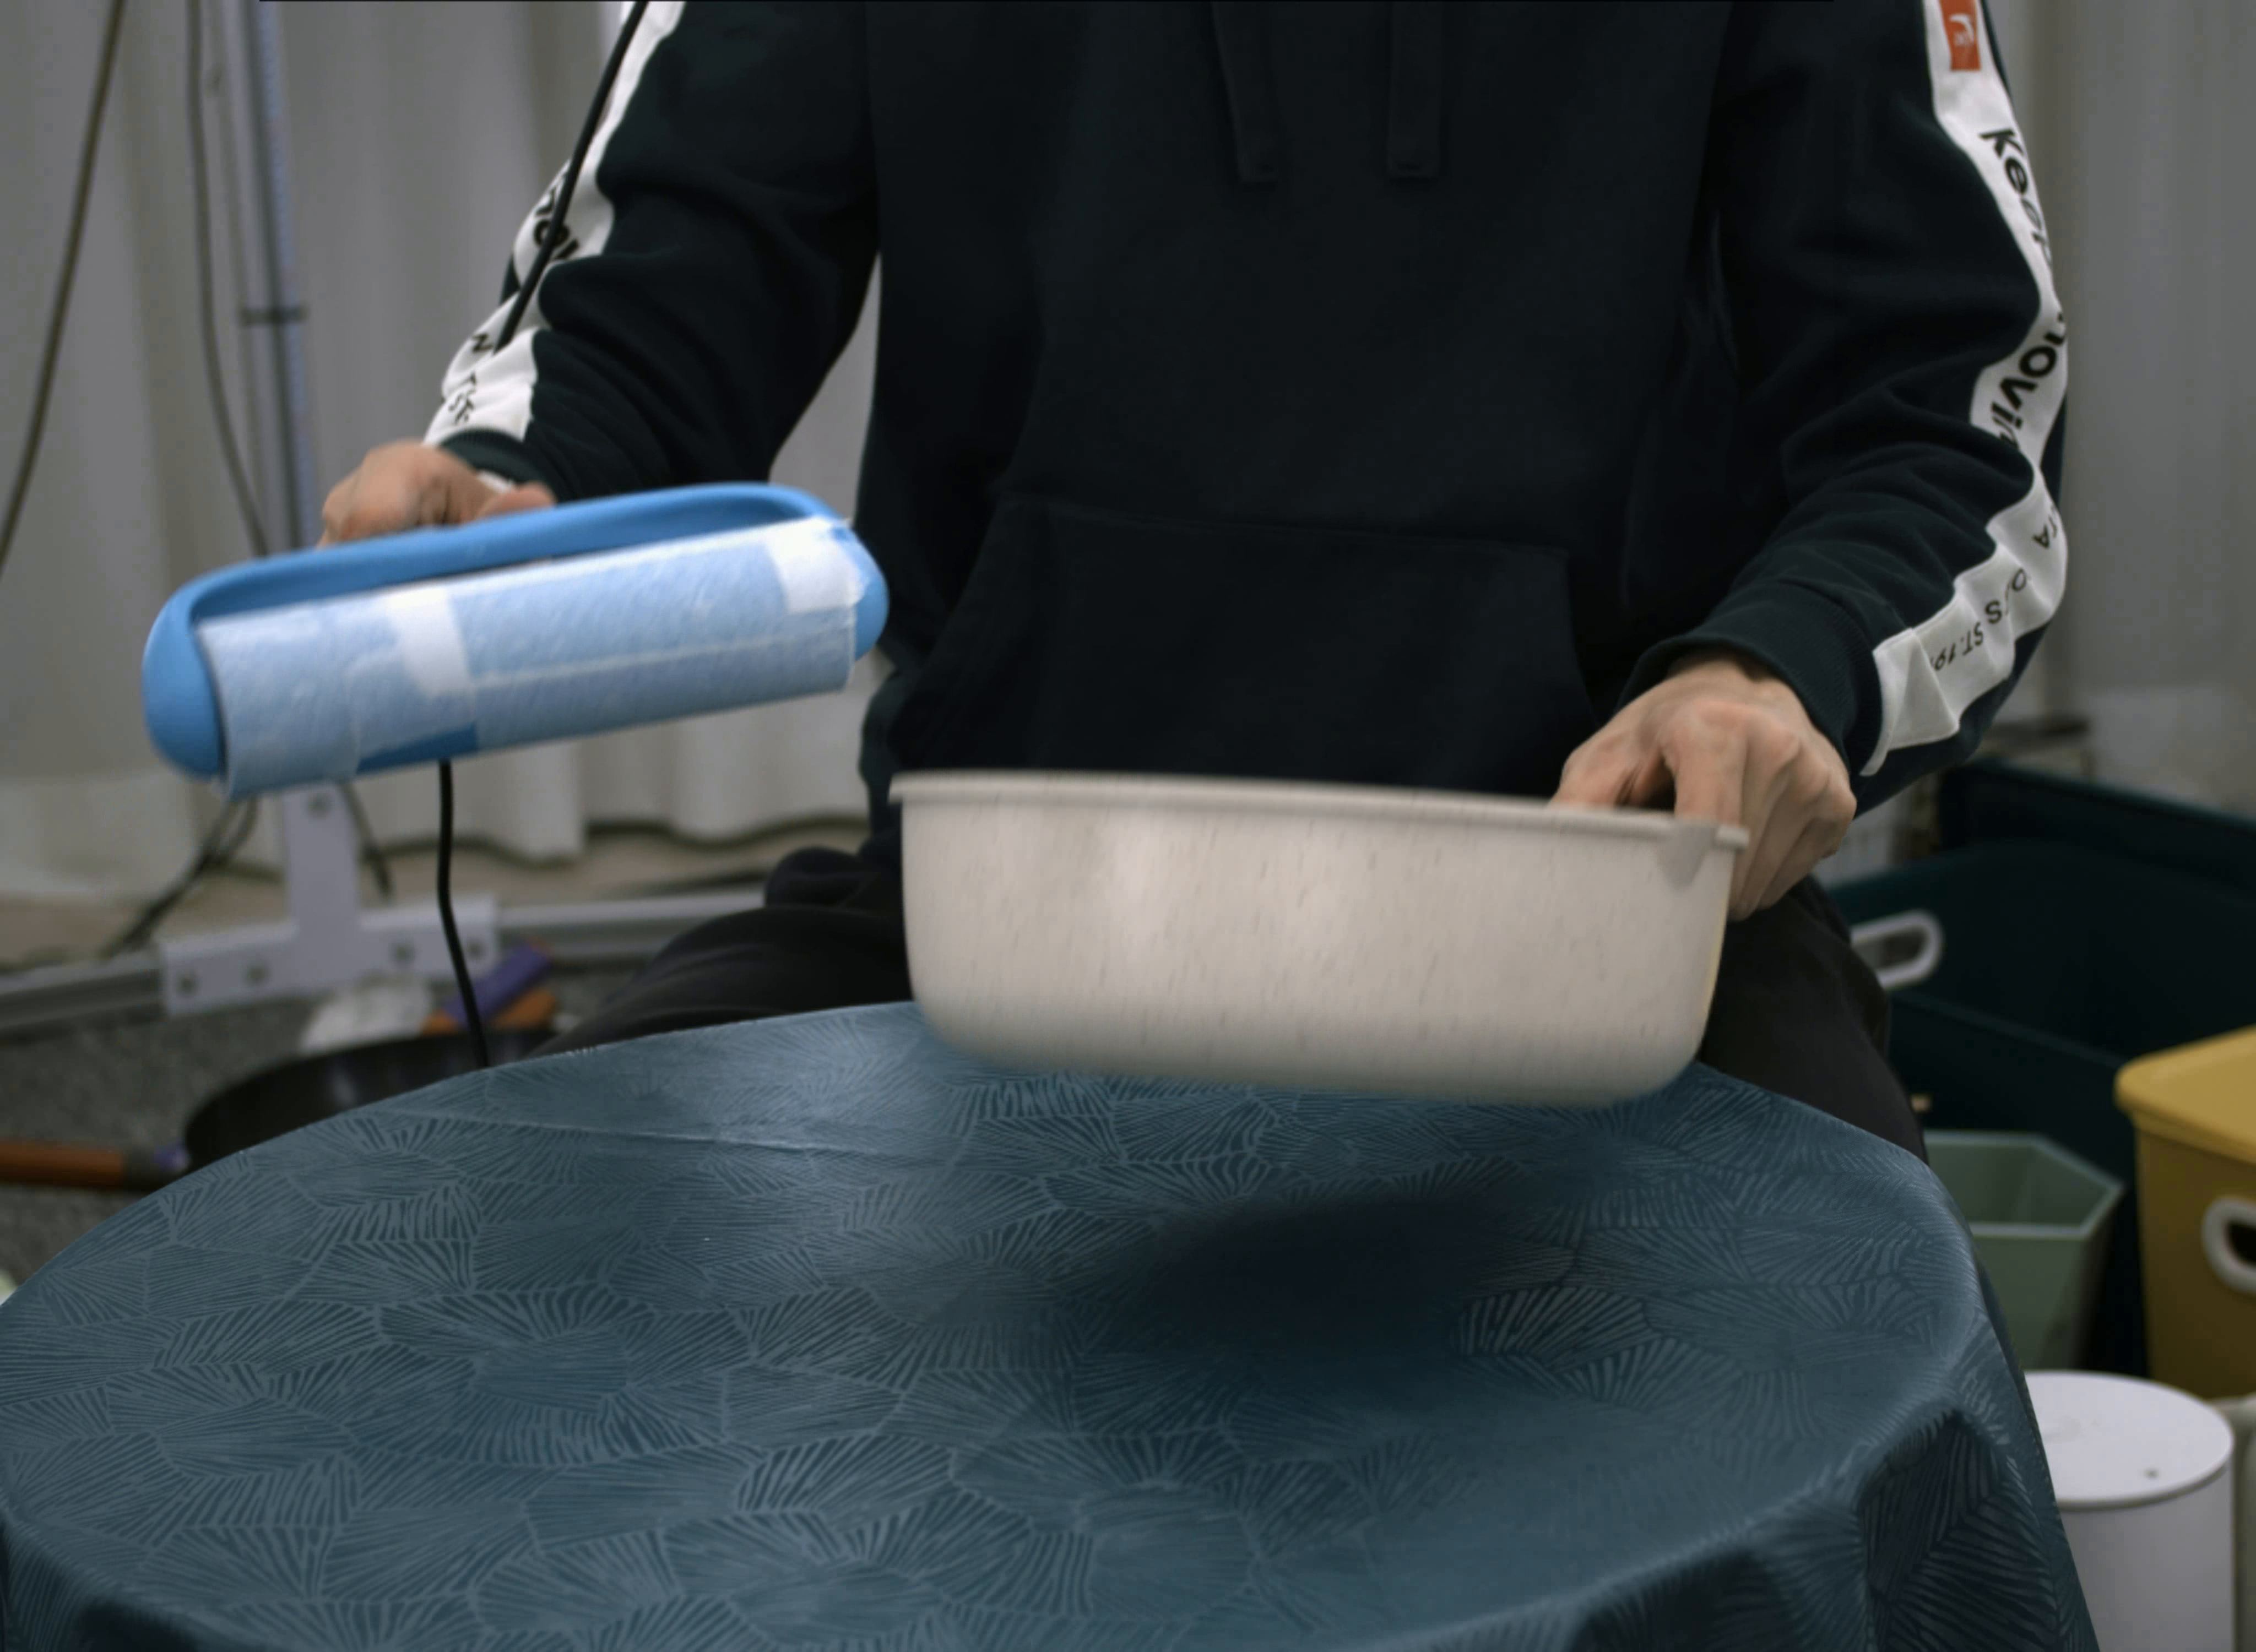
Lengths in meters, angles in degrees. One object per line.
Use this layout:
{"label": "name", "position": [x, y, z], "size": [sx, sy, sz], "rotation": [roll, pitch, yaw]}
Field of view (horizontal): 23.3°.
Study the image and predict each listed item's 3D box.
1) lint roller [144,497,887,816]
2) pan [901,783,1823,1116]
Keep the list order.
{"label": "lint roller", "position": [-0.205, -0.058, 1.695], "size": [0.228, 0.068, 0.181], "rotation": [-14, 14, -21]}
{"label": "pan", "position": [0.108, 0.036, 1.666], "size": [0.264, 0.102, 0.432], "rotation": [0, -4, 34]}
